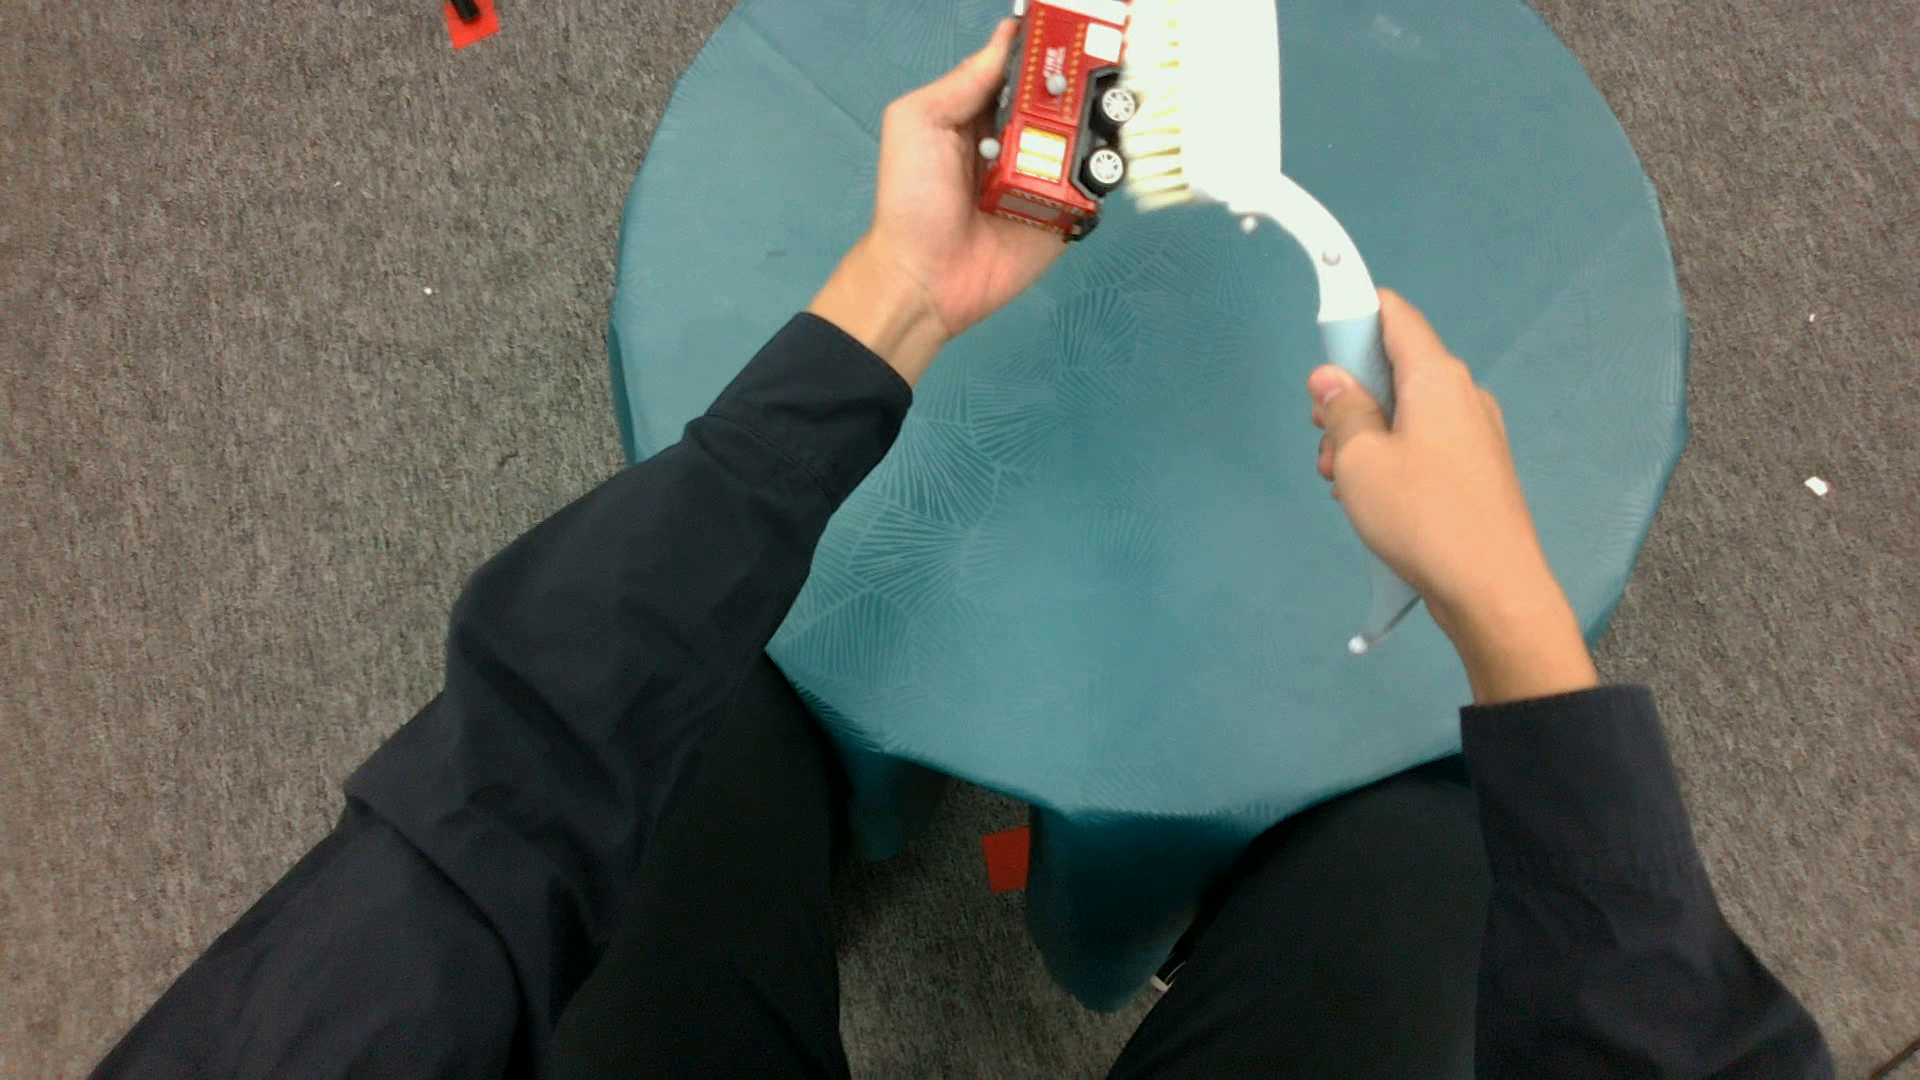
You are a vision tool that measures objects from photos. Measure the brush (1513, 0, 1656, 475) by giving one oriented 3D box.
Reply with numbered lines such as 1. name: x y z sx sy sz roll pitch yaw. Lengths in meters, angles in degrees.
1. brush: 0.213 -0.188 0.529 0.083 0.084 0.324 0 105 -12
